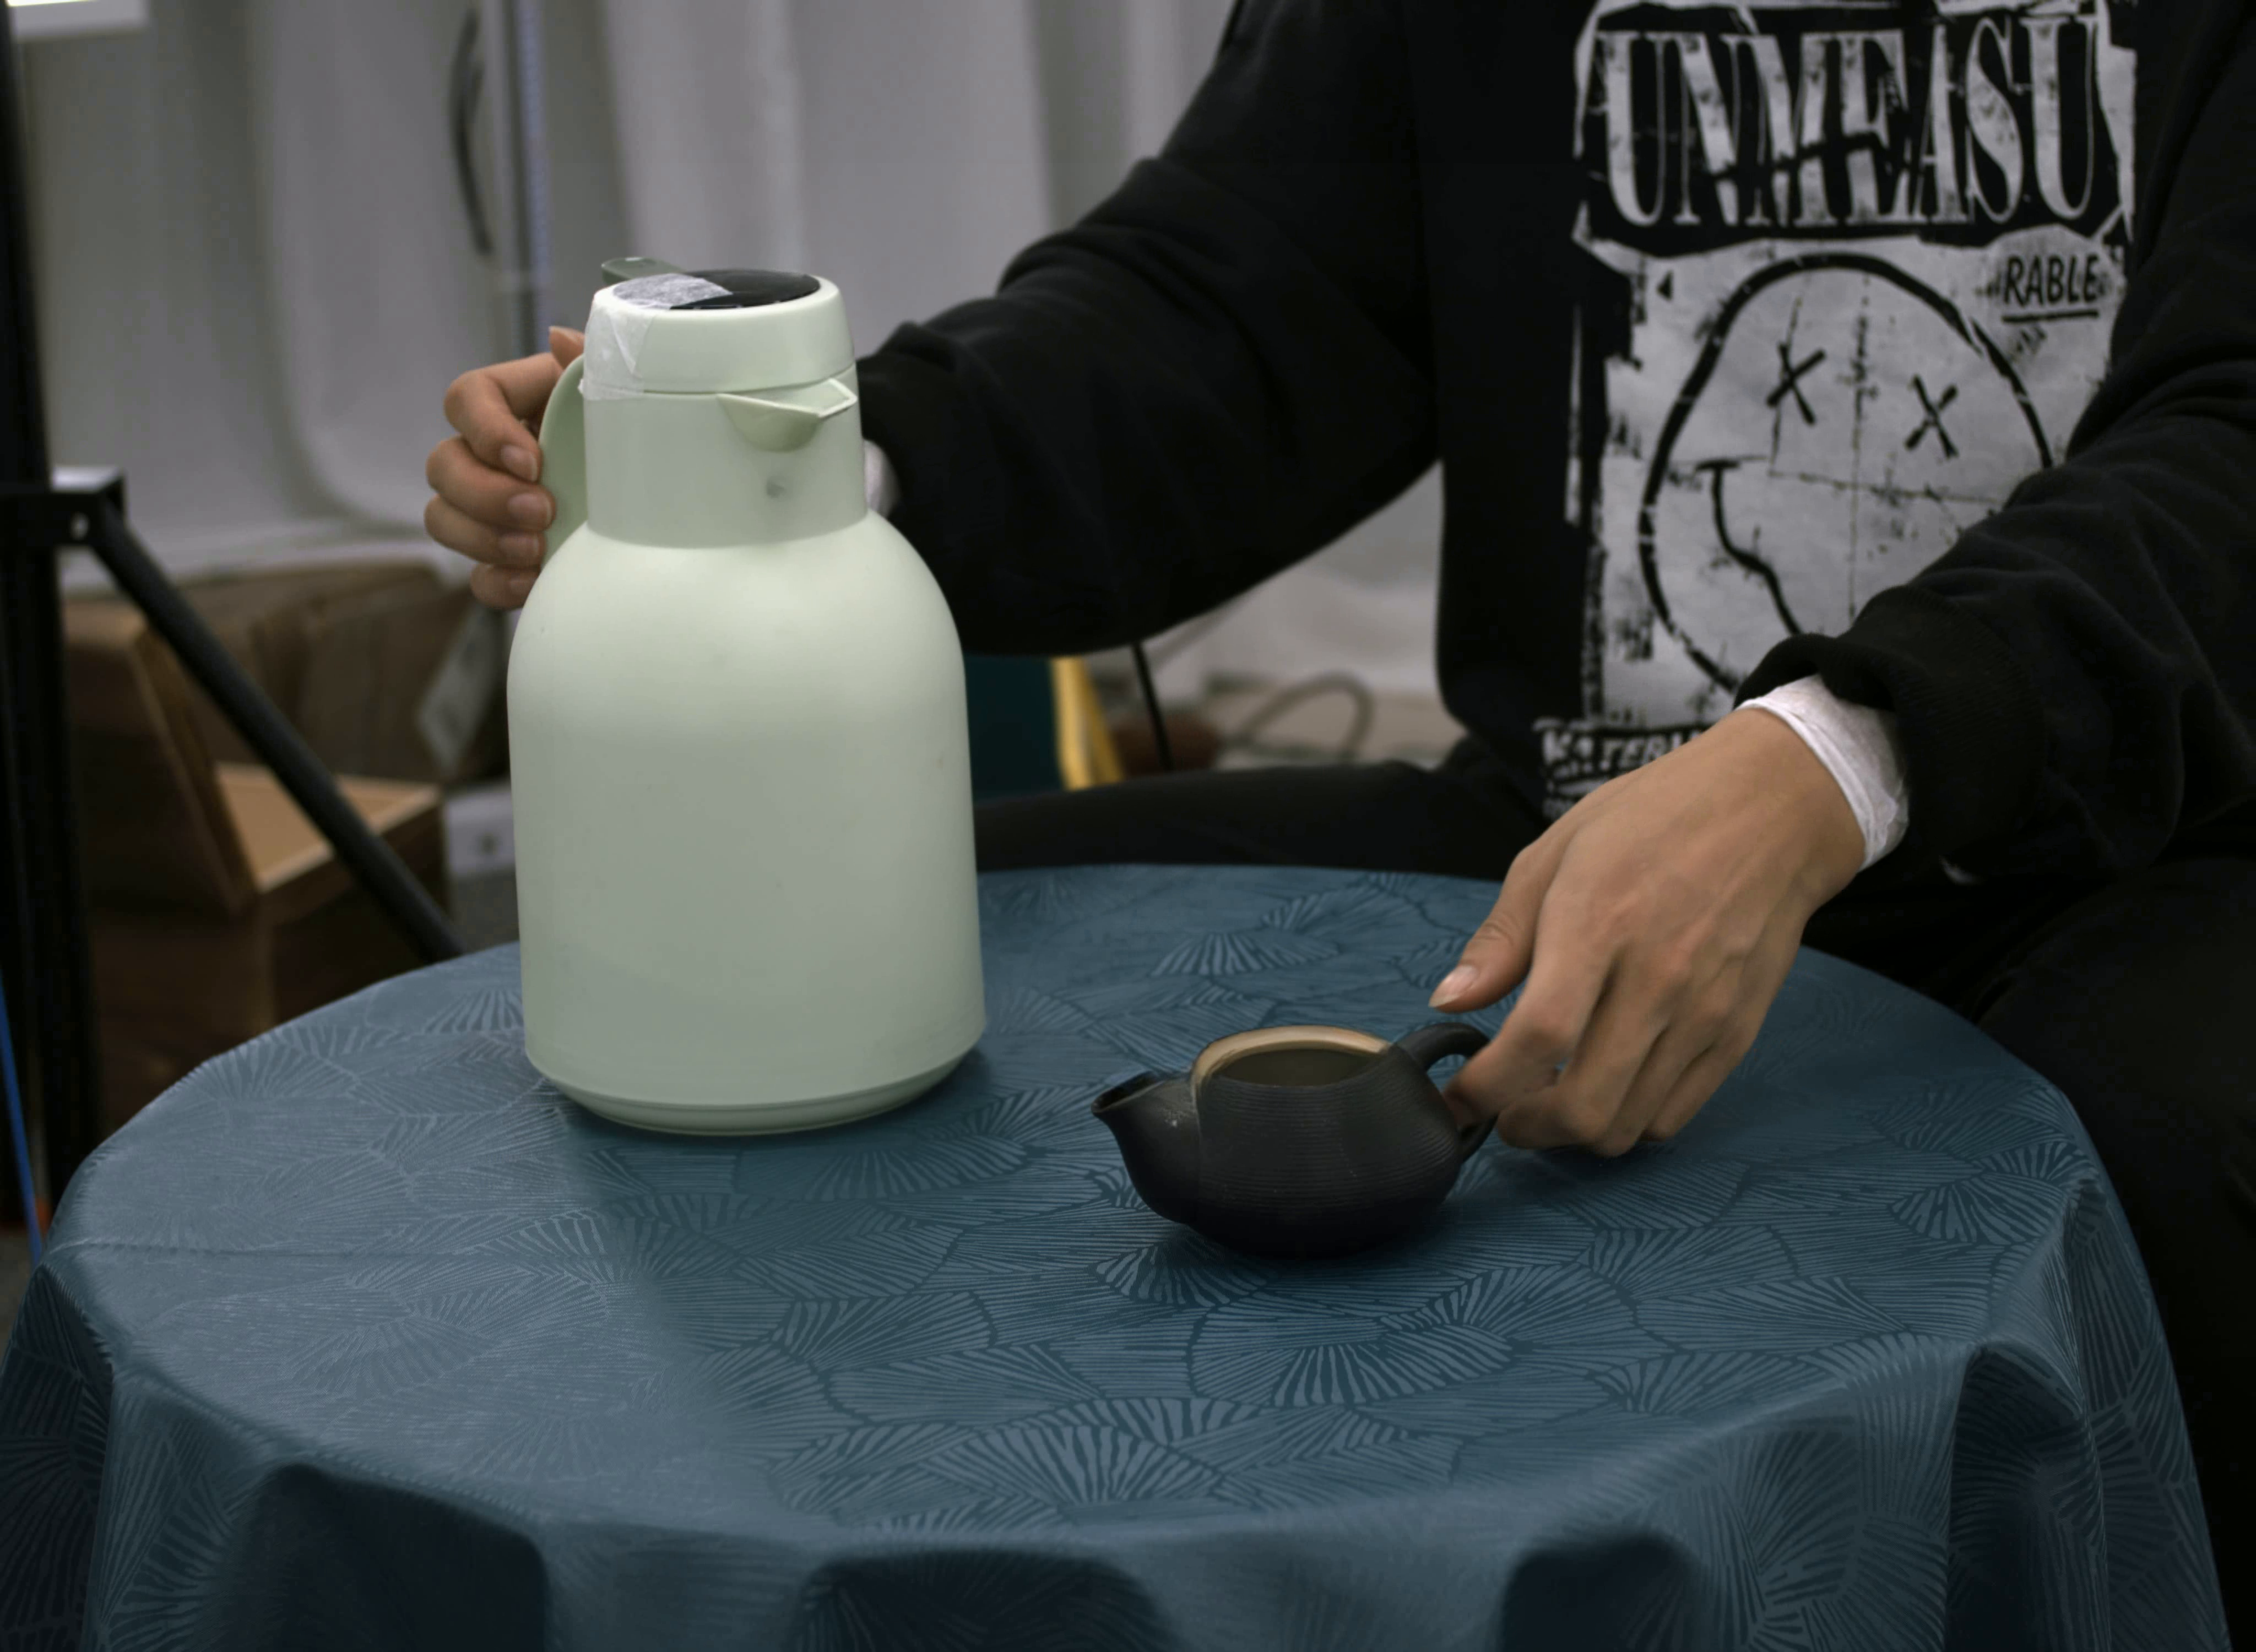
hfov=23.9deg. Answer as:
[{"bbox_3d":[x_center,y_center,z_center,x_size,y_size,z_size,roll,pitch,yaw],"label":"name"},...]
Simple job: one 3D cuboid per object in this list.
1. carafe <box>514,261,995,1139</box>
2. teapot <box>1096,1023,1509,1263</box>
[{"bbox_3d":[-0.127,-0.045,1.659,0.141,0.257,0.191,-12,15,-29],"label":"carafe"},{"bbox_3d":[0.051,0.090,1.510,0.130,0.053,0.093,-11,19,-25],"label":"teapot"}]
